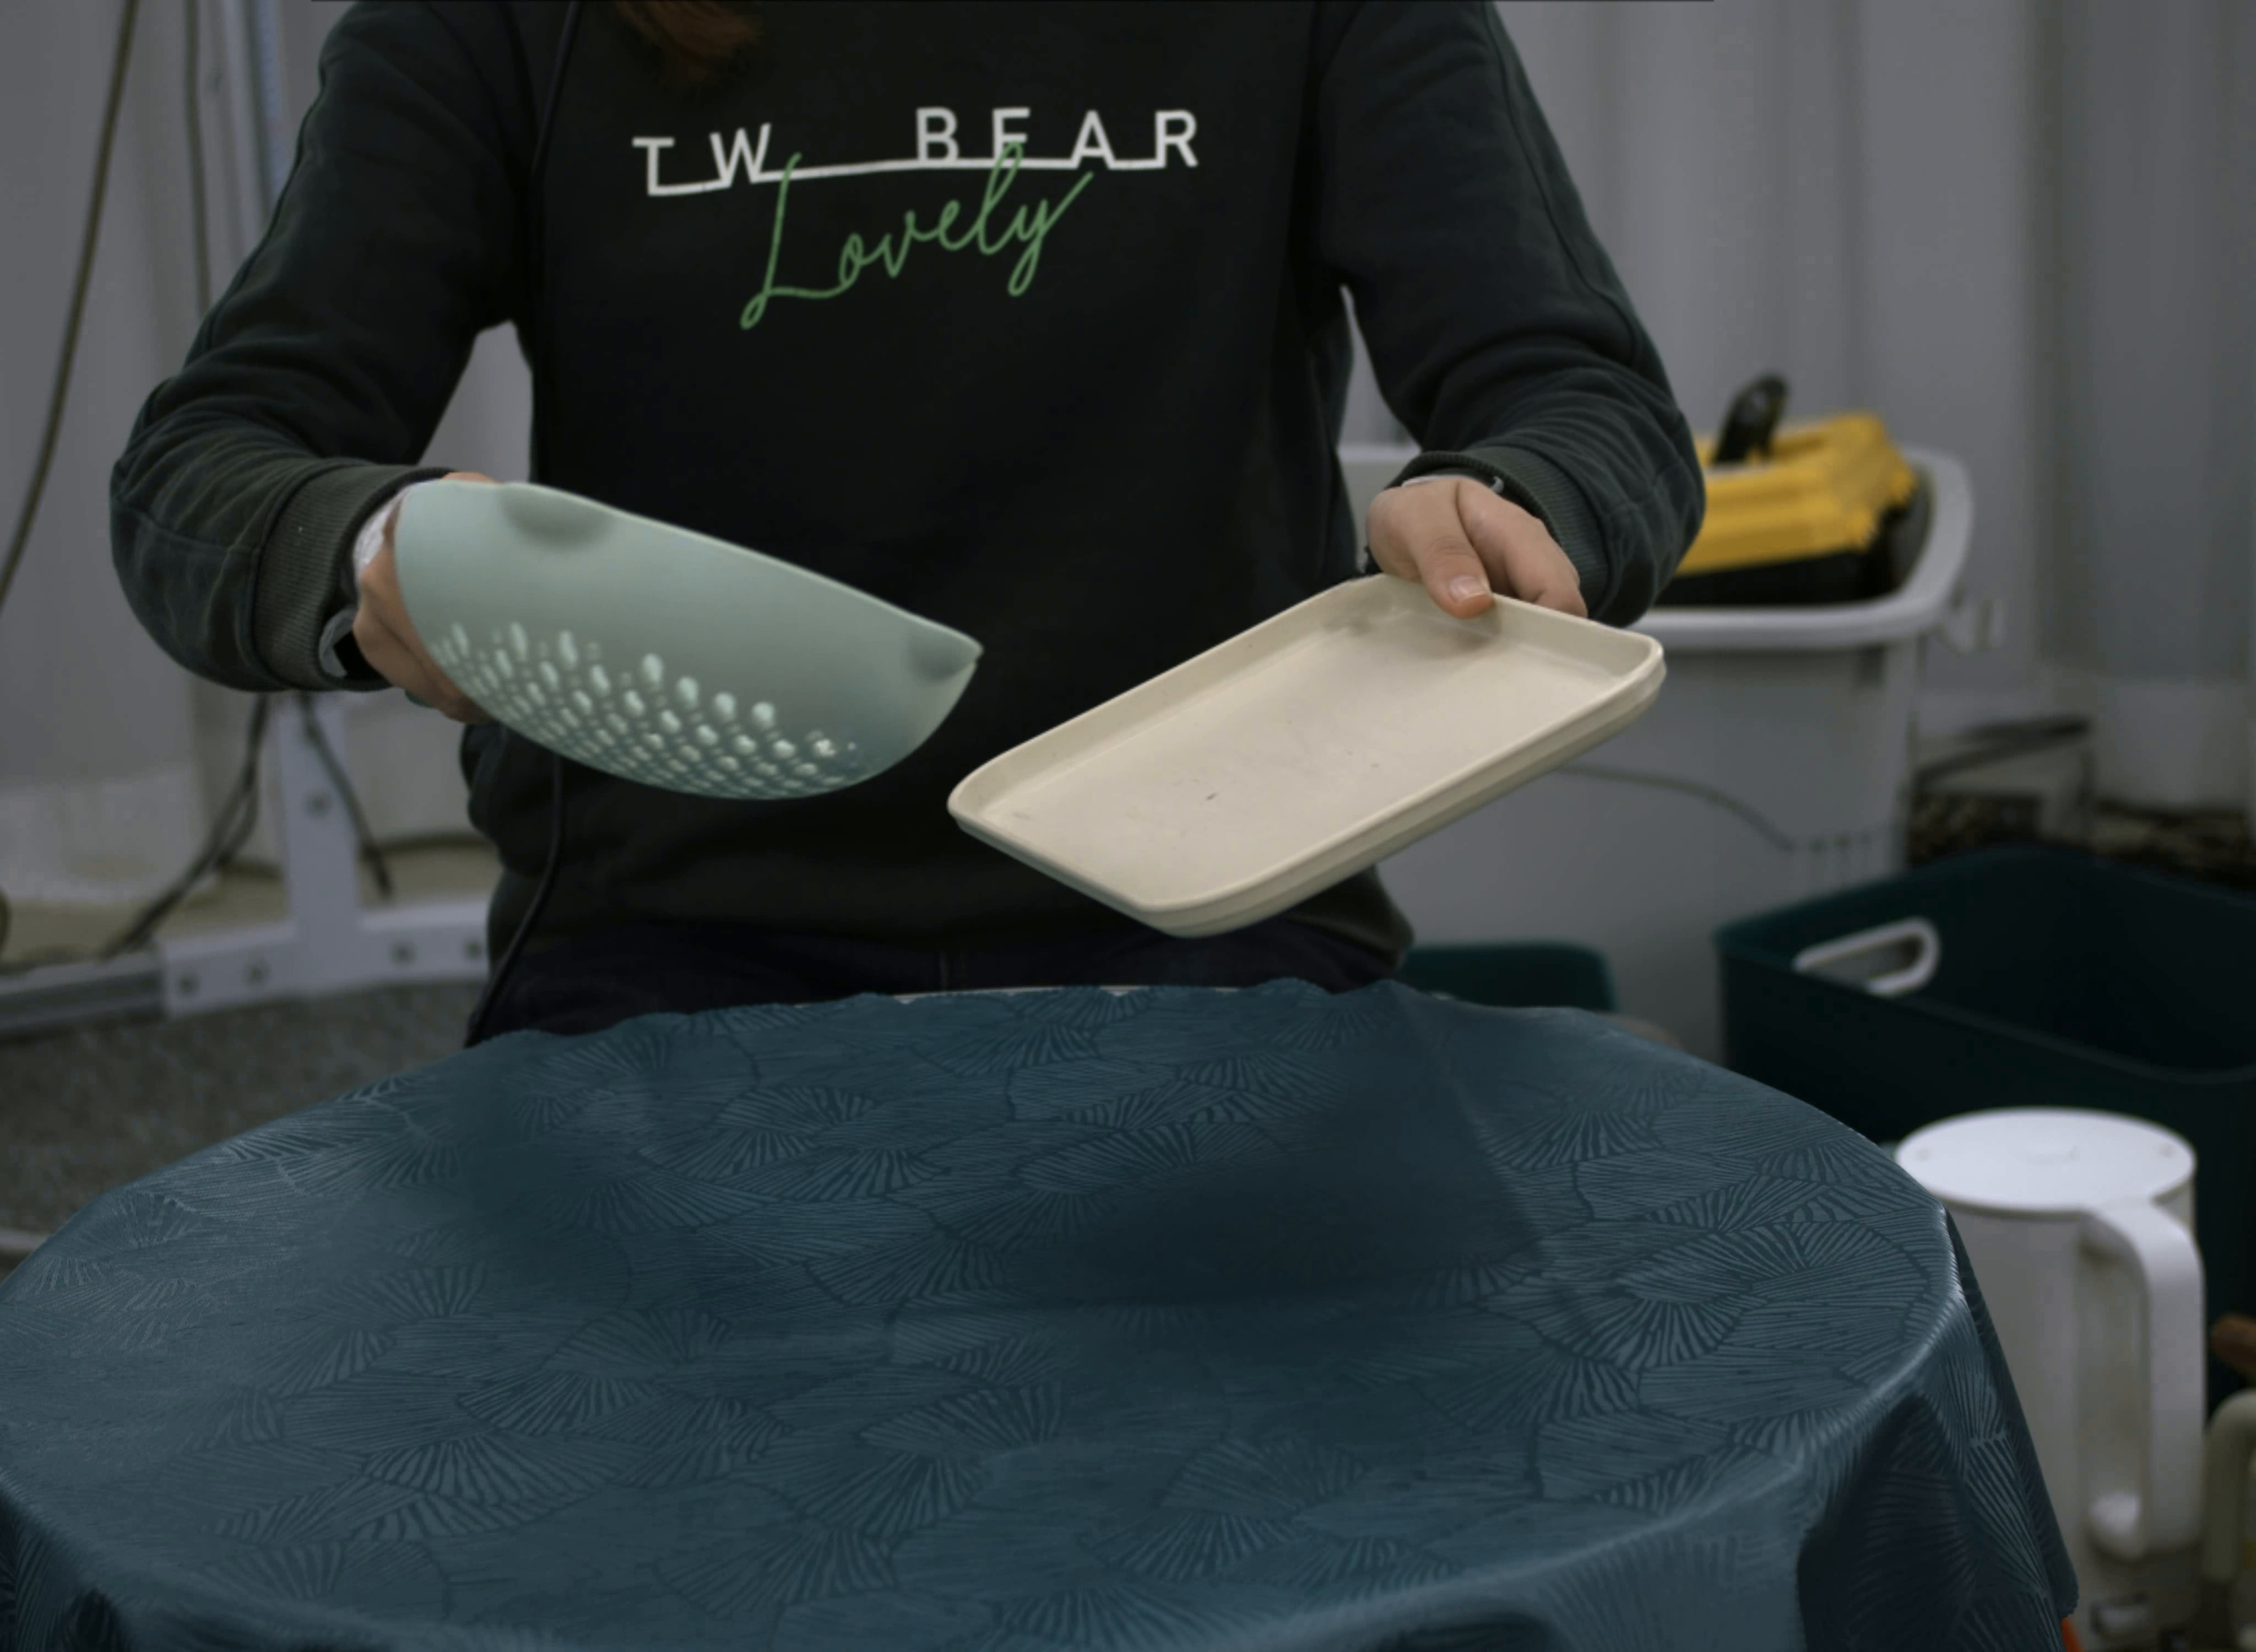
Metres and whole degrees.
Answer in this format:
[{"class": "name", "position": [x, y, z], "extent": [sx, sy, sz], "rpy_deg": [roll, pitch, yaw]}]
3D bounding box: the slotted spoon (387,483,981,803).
[{"class": "slotted spoon", "position": [-0.164, -0.052, 1.624], "extent": [0.168, 0.075, 0.360], "rpy_deg": [20, -1, -20]}]

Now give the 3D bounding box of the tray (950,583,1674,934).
[{"class": "tray", "position": [0.051, -0.021, 1.613], "extent": [0.171, 0.017, 0.241], "rpy_deg": [-27, 15, -14]}]
